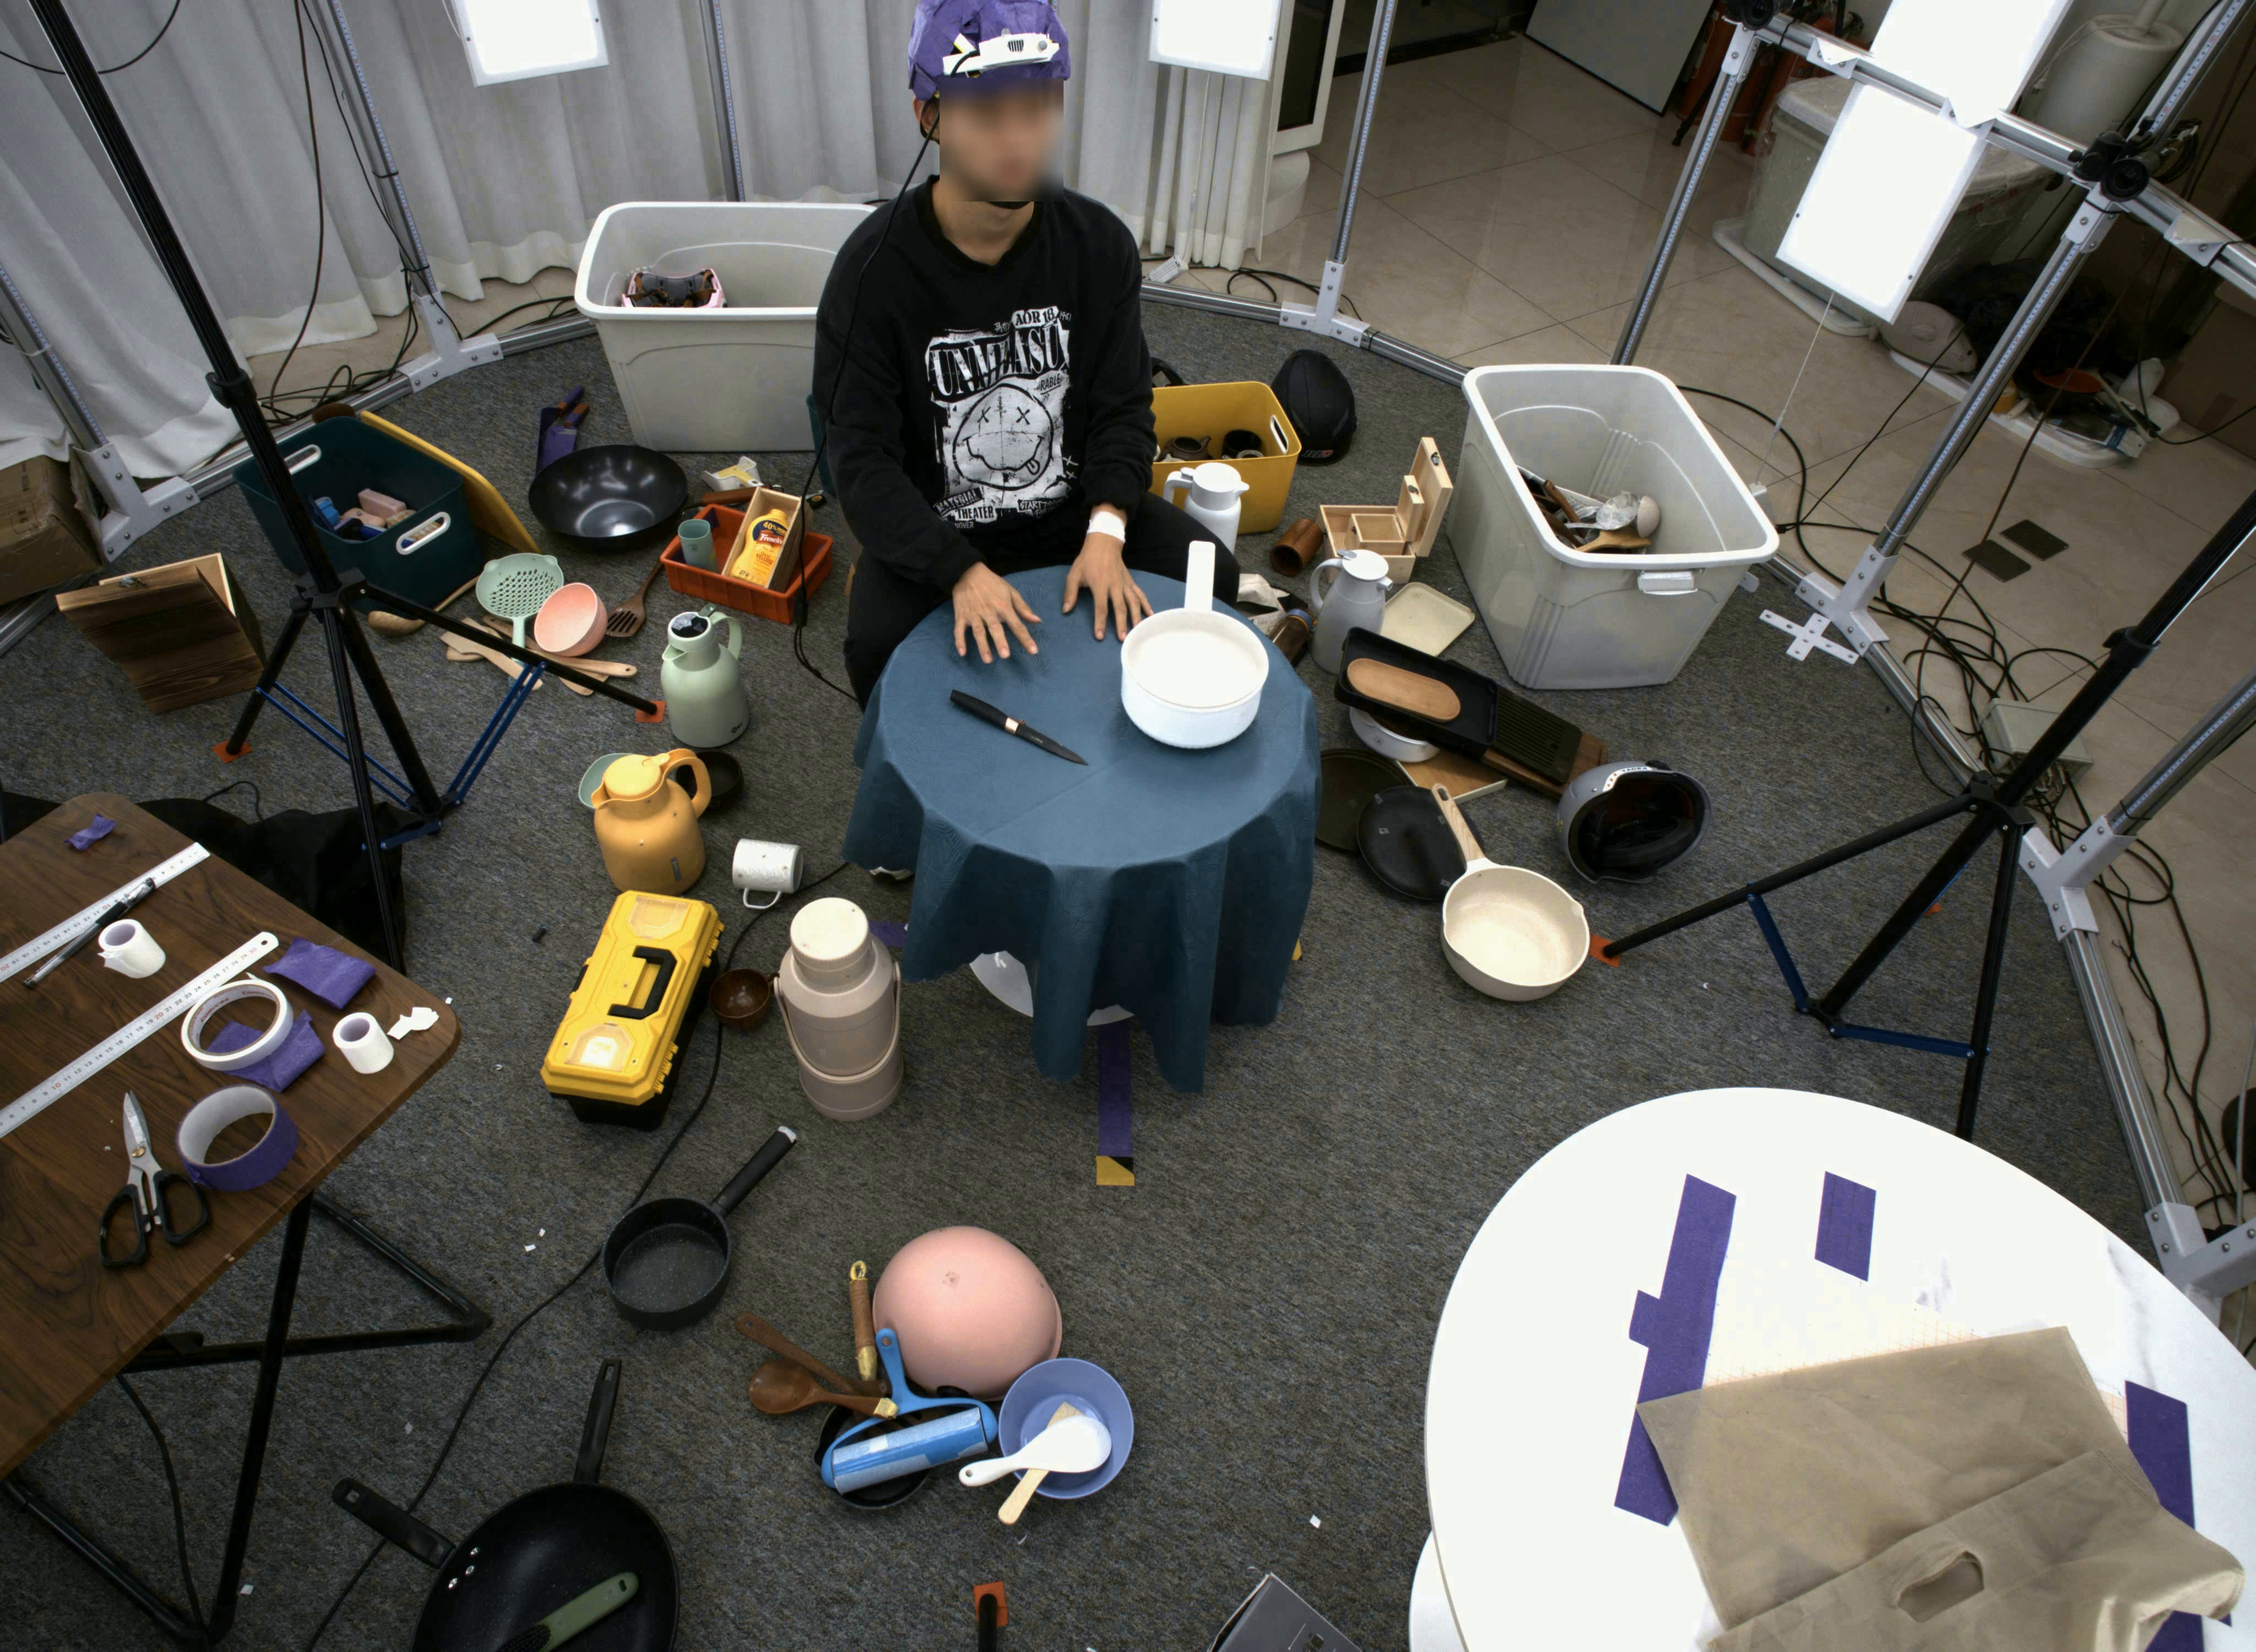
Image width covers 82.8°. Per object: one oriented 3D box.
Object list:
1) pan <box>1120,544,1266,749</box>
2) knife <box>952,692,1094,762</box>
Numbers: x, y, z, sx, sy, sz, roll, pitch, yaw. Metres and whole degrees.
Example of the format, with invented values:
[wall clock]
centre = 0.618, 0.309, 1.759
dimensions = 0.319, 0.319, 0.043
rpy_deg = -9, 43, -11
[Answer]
[pan]
centre = 0.095, -0.257, 1.838
dimensions = 0.201, 0.099, 0.363
rpy_deg = 4, 48, 3
[knife]
centre = -0.146, -0.134, 1.771
dimensions = 0.227, 0.017, 0.026
rpy_deg = 27, 41, 17
